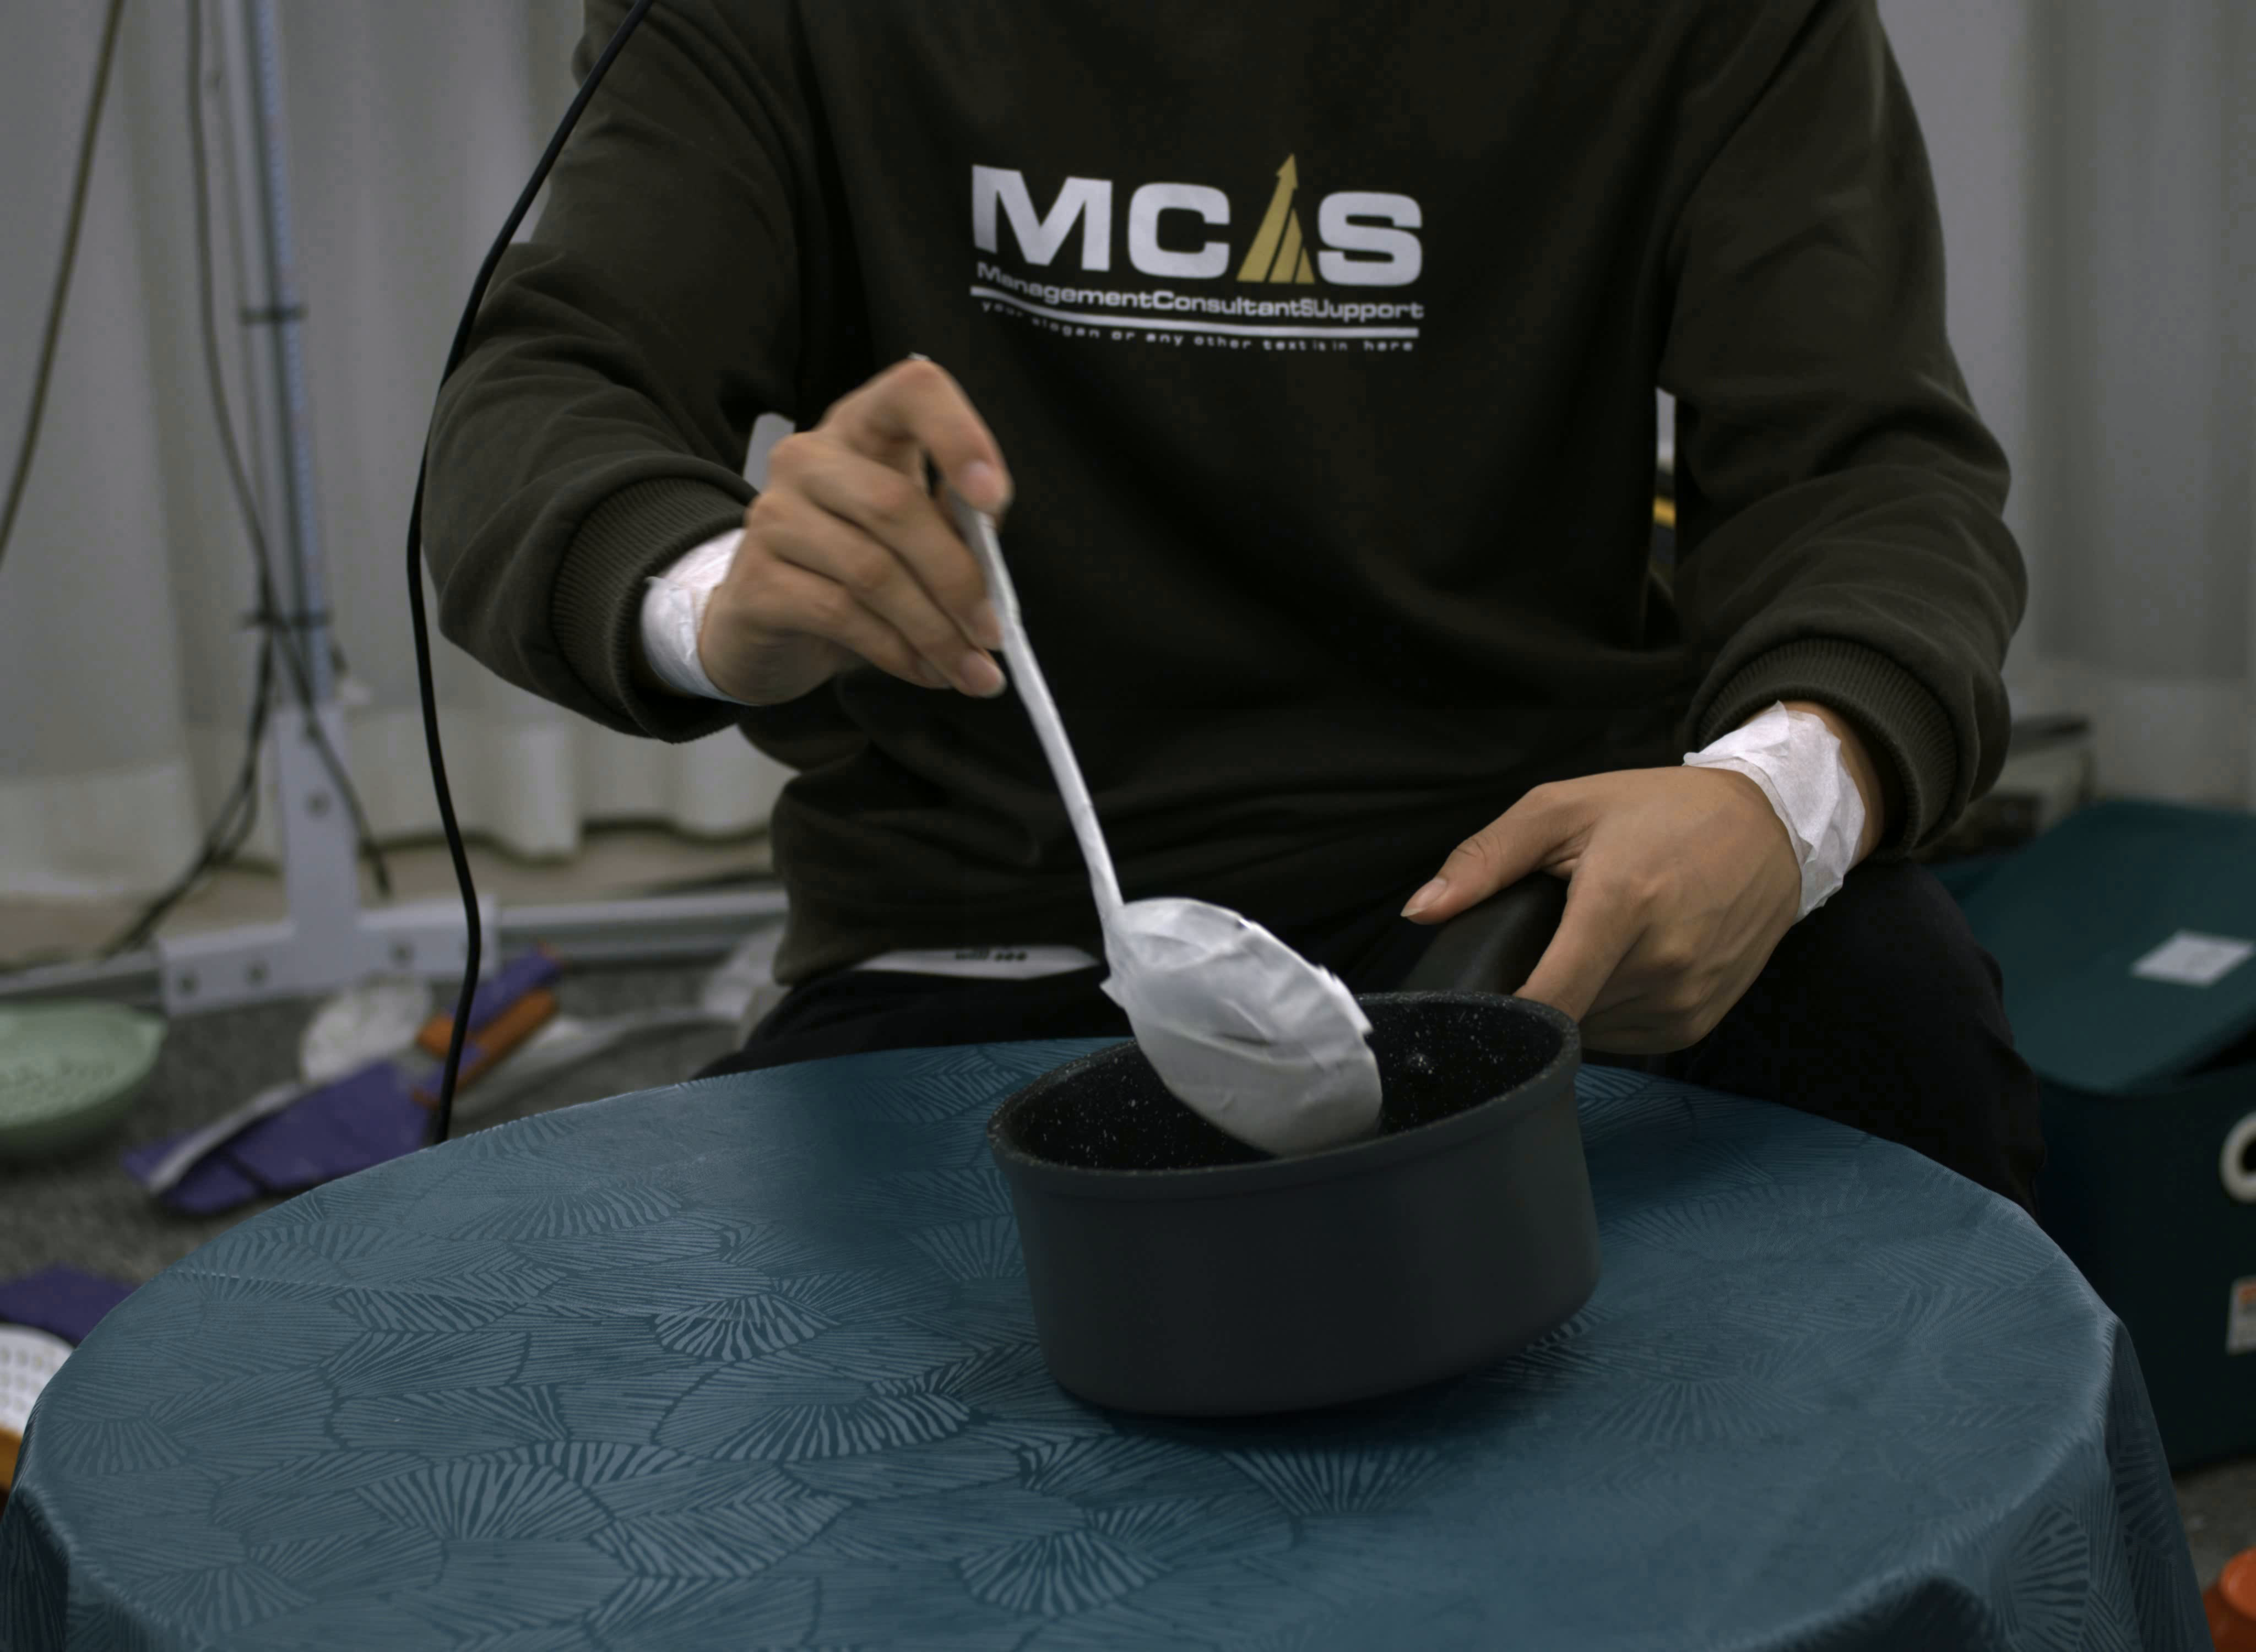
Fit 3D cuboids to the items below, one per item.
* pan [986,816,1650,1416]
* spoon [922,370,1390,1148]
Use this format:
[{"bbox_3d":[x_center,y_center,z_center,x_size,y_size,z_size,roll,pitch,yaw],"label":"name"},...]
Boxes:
[{"bbox_3d":[0.084,0.083,1.624,0.172,0.086,0.329,-3,15,28],"label":"pan"},{"bbox_3d":[0.004,-0.022,1.579,0.059,0.099,0.281,-5,56,-22],"label":"spoon"}]
